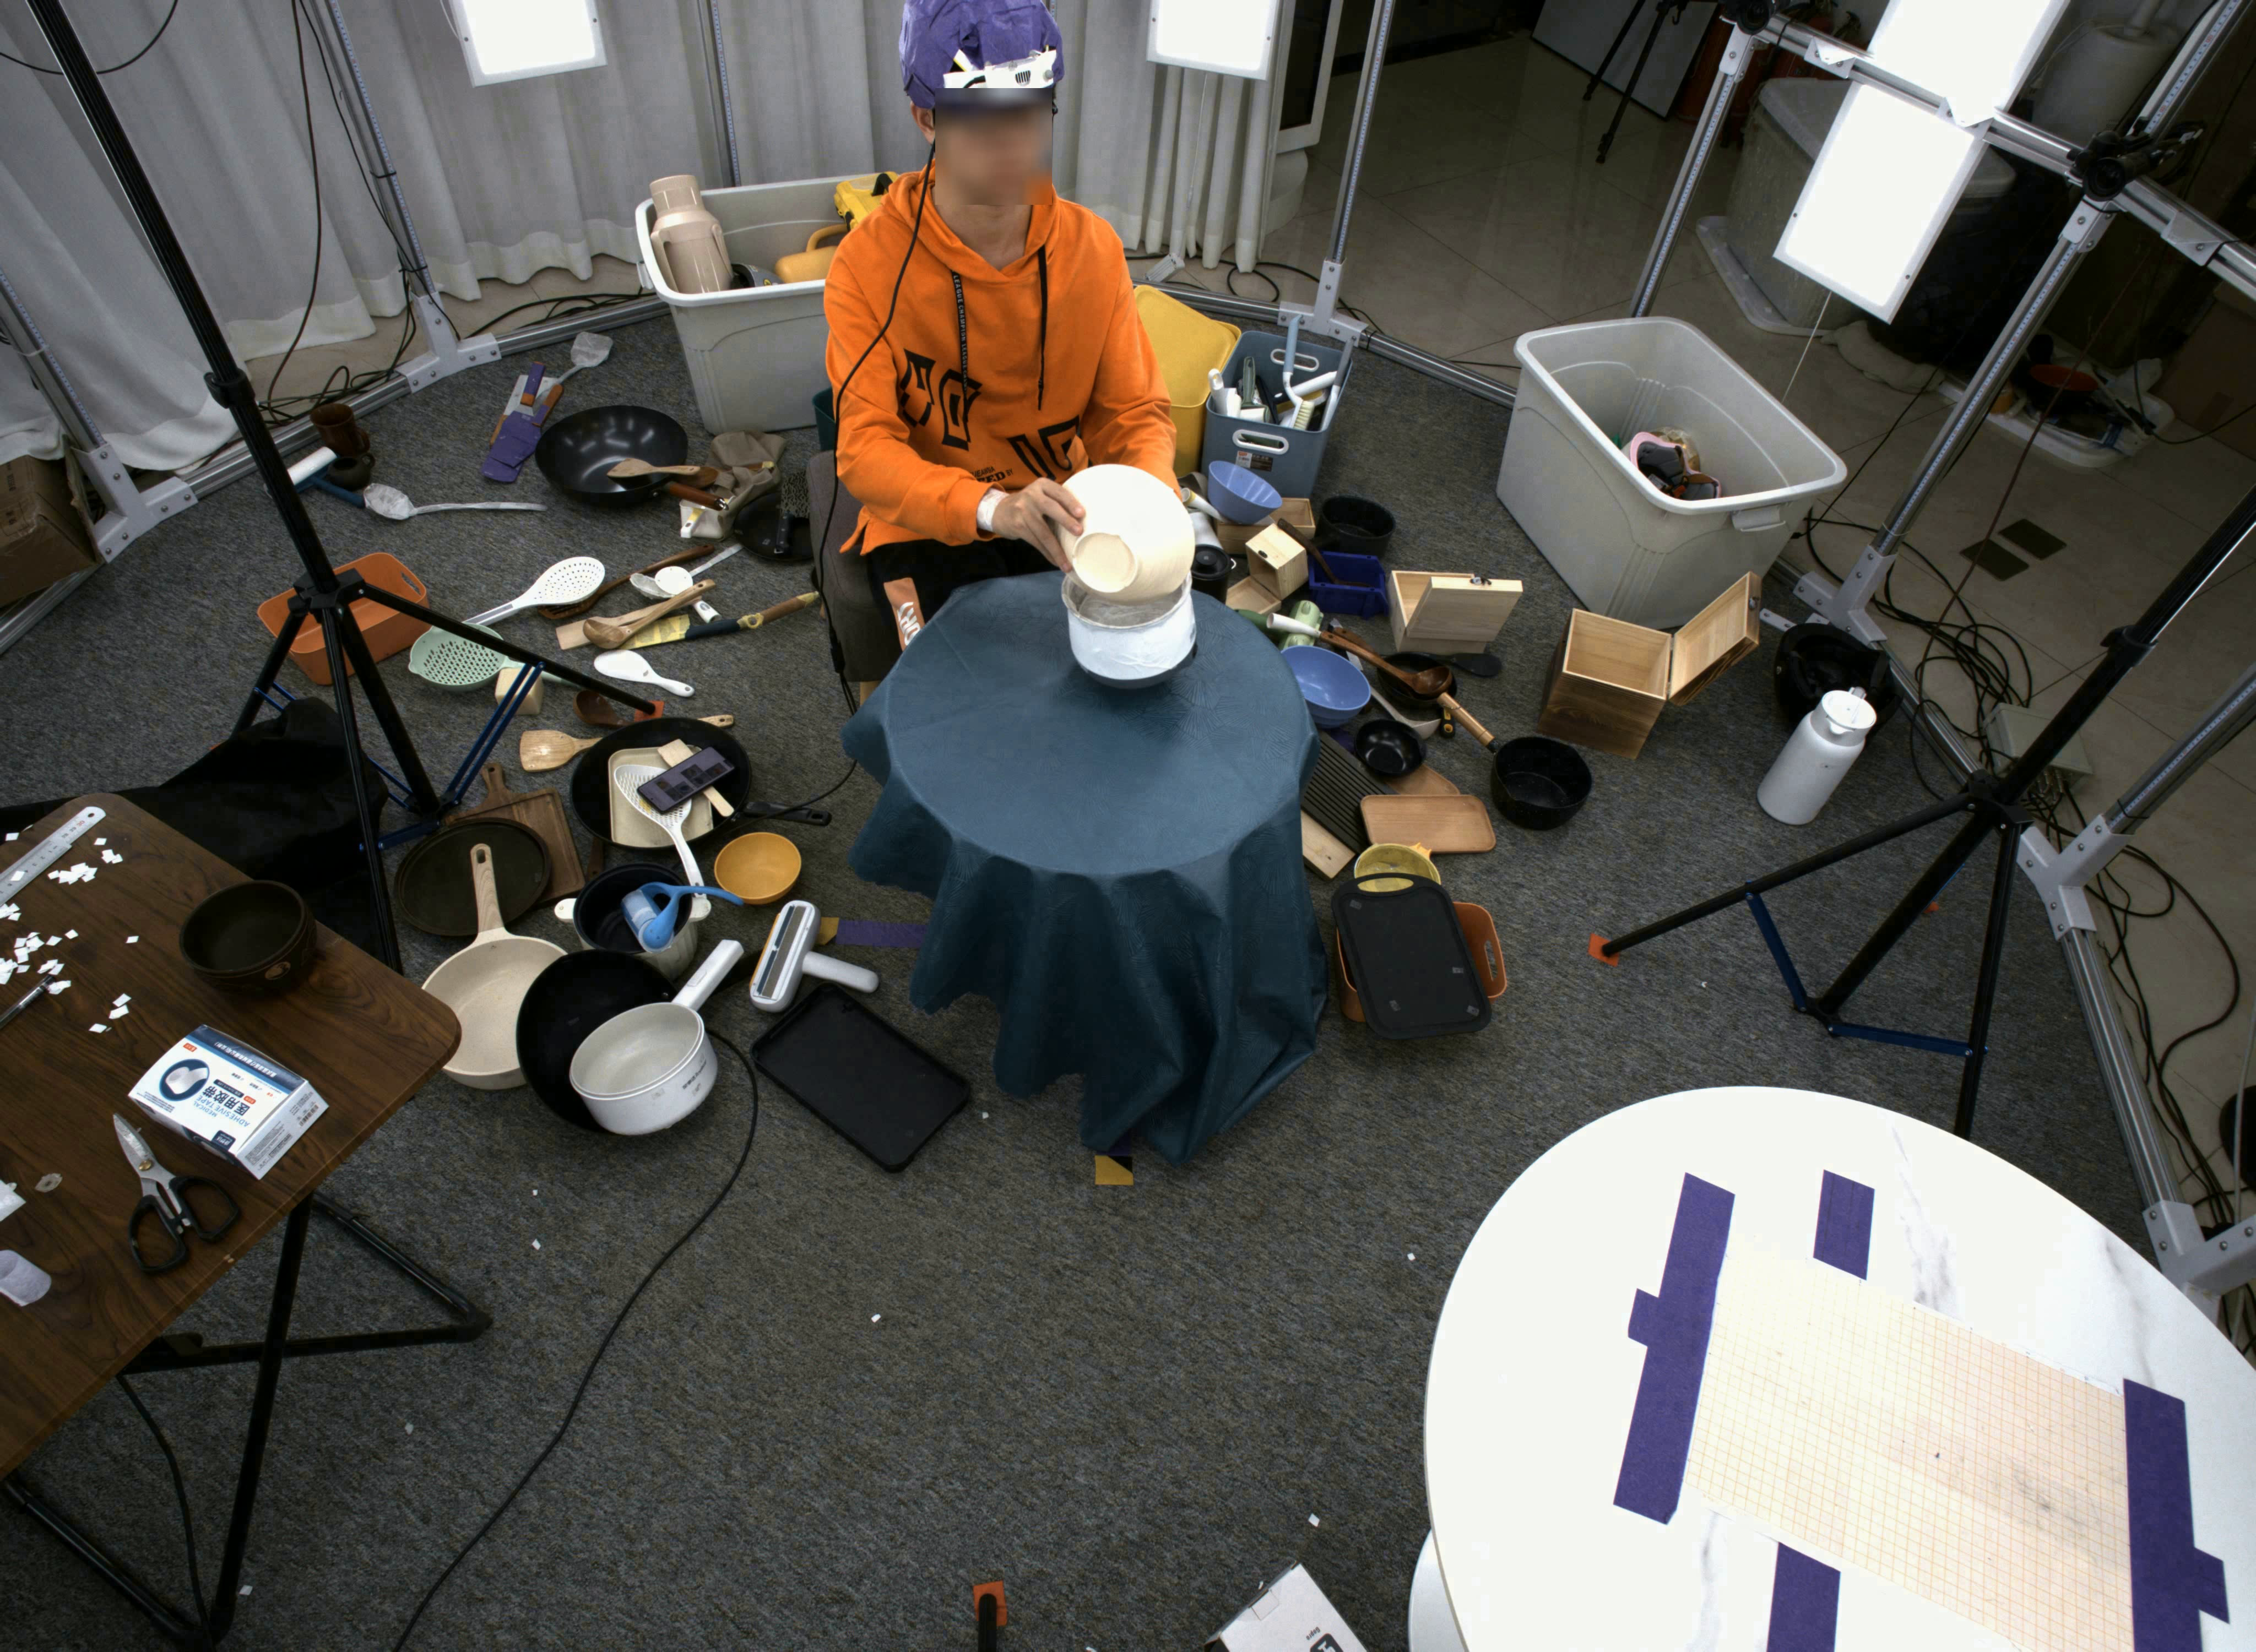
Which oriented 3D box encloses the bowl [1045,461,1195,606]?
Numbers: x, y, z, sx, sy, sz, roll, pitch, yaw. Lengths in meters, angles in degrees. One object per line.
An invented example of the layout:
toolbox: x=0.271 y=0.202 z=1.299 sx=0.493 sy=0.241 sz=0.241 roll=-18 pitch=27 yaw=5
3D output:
bowl: x=-0.019 y=-0.361 z=1.667 sx=0.204 sy=0.199 sz=0.079 roll=14 pitch=38 yaw=7

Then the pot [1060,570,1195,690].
pot: x=0.009 y=-0.309 z=1.798 sx=0.179 sy=0.133 sz=0.239 roll=7 pitch=52 yaw=13
